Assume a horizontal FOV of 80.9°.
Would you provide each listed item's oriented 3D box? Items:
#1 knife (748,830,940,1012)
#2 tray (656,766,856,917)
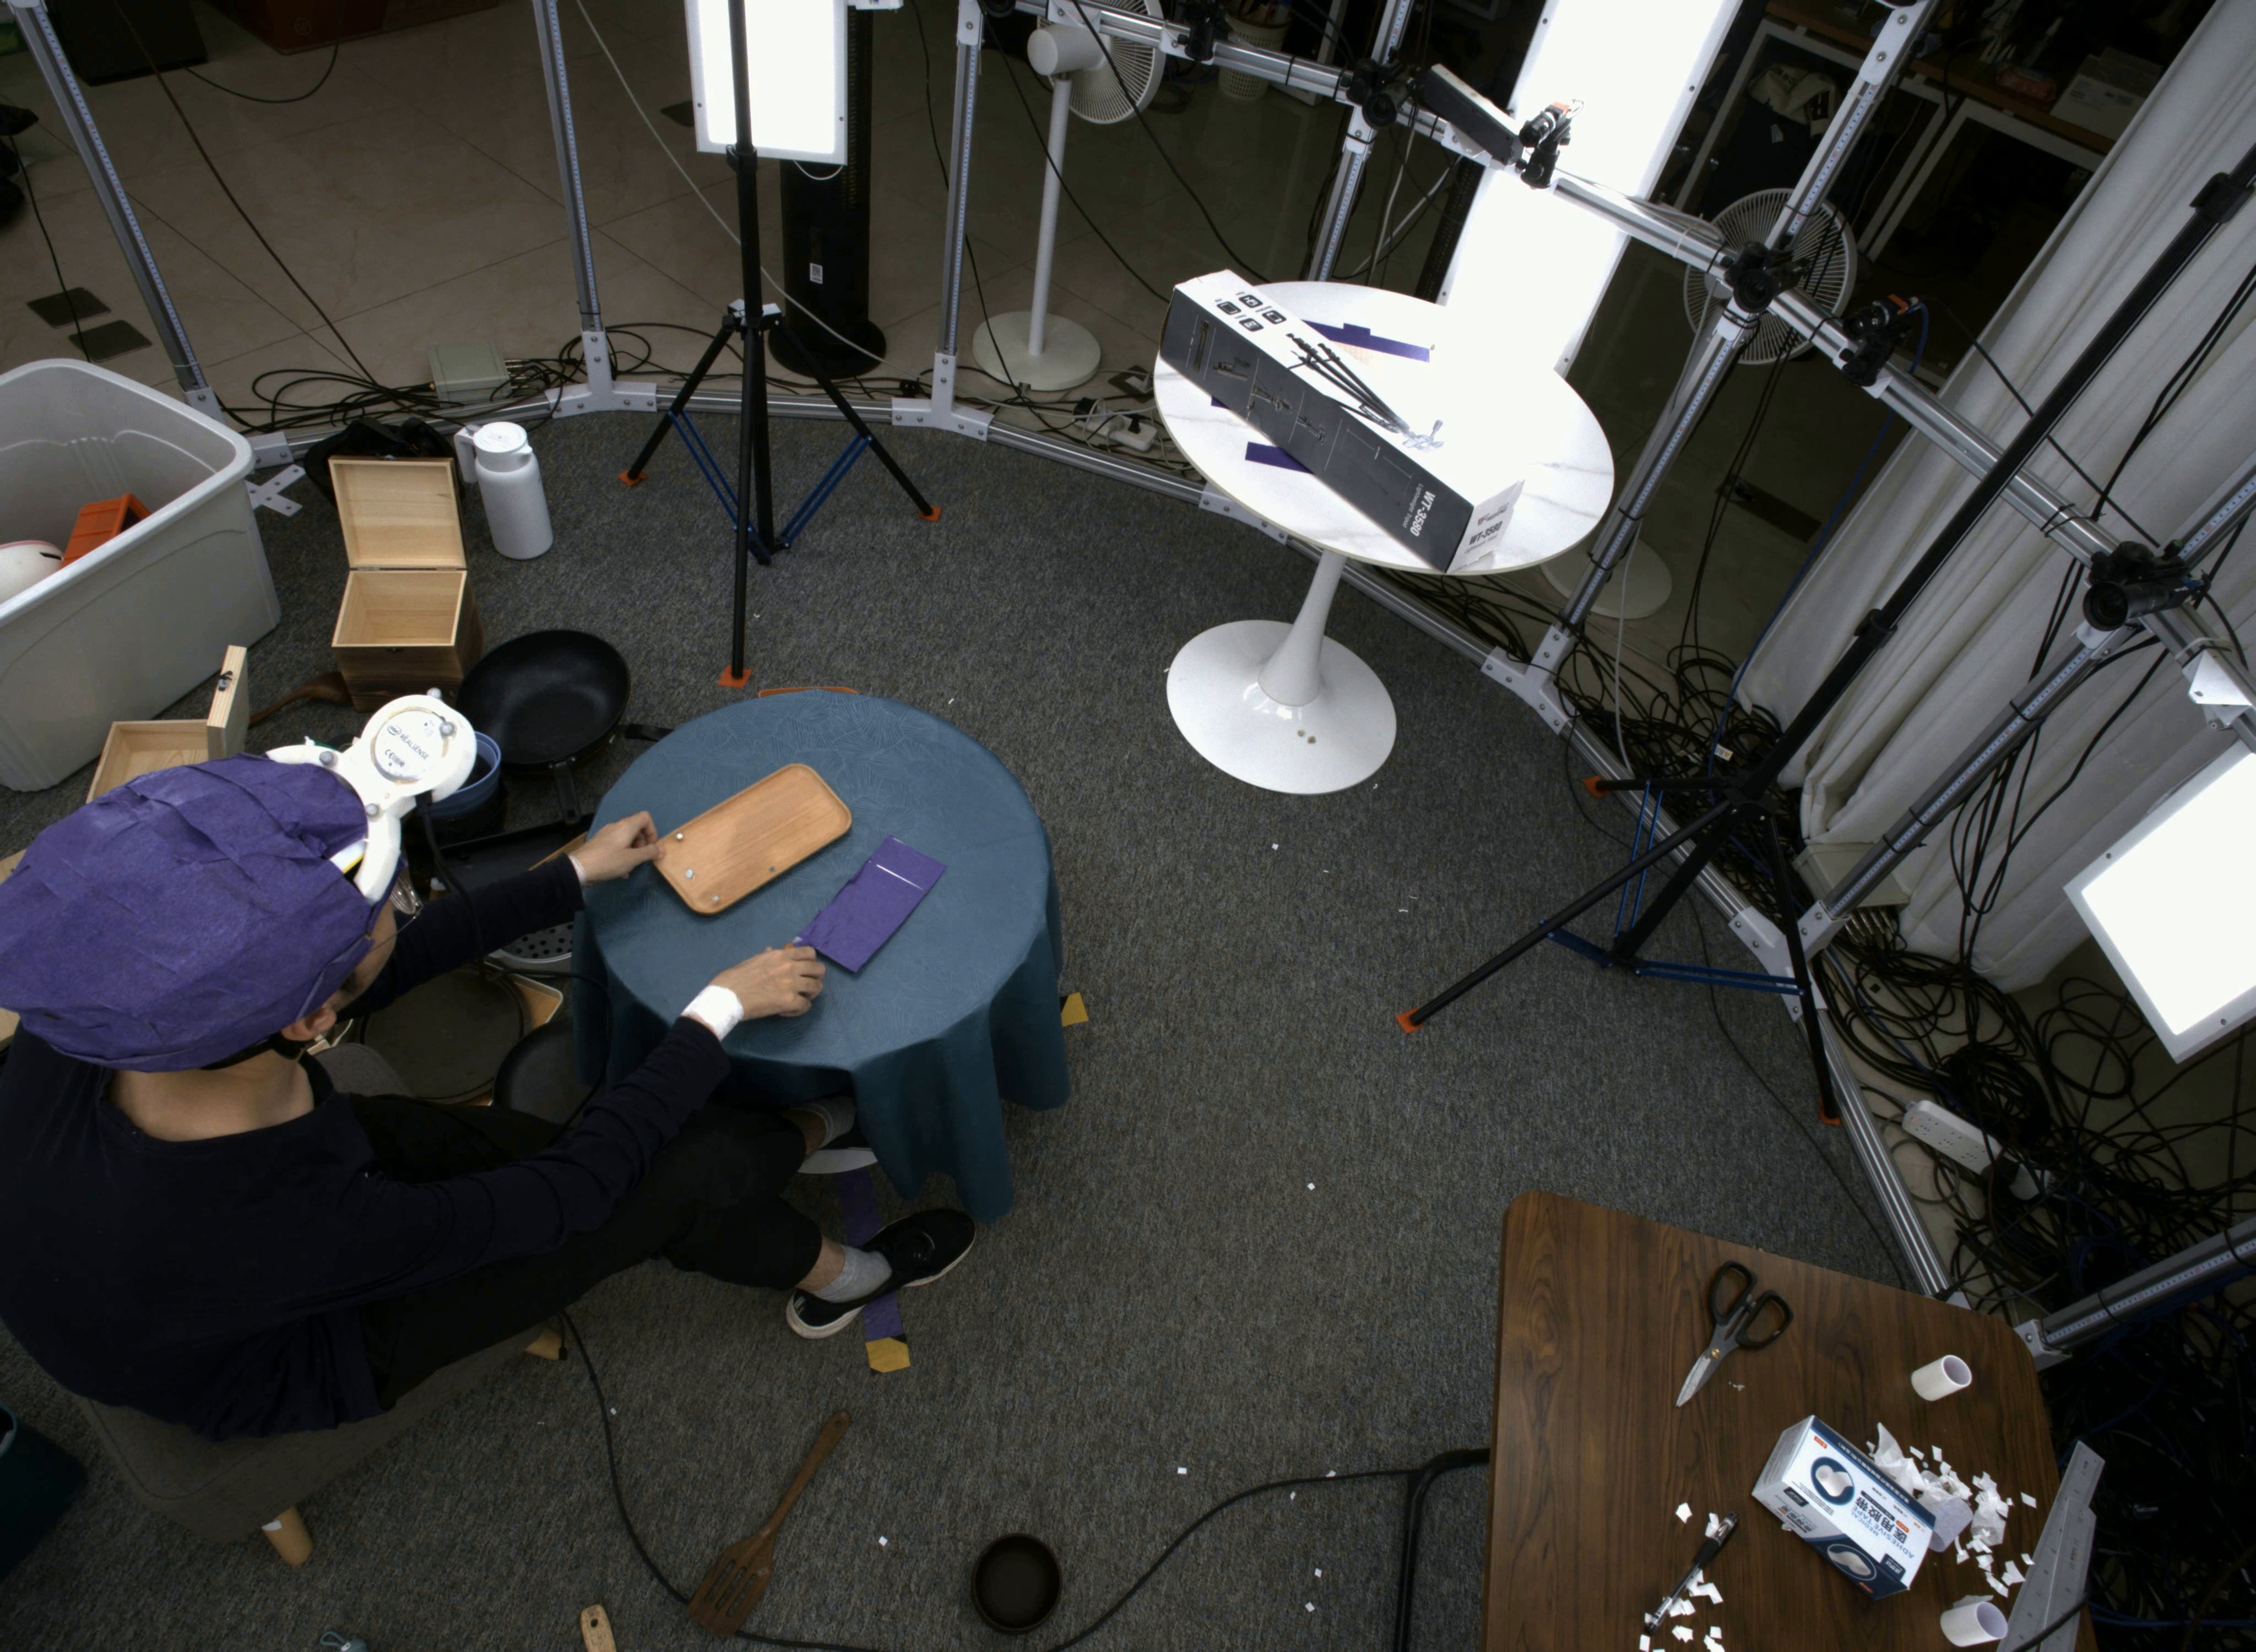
[{"bbox_3d":[-0.350,0.124,1.645,0.102,0.033,0.314,28,52,8],"label":"knife"},{"bbox_3d":[-0.484,0.017,1.688,0.251,0.023,0.129,-34,78,-33],"label":"tray"}]
